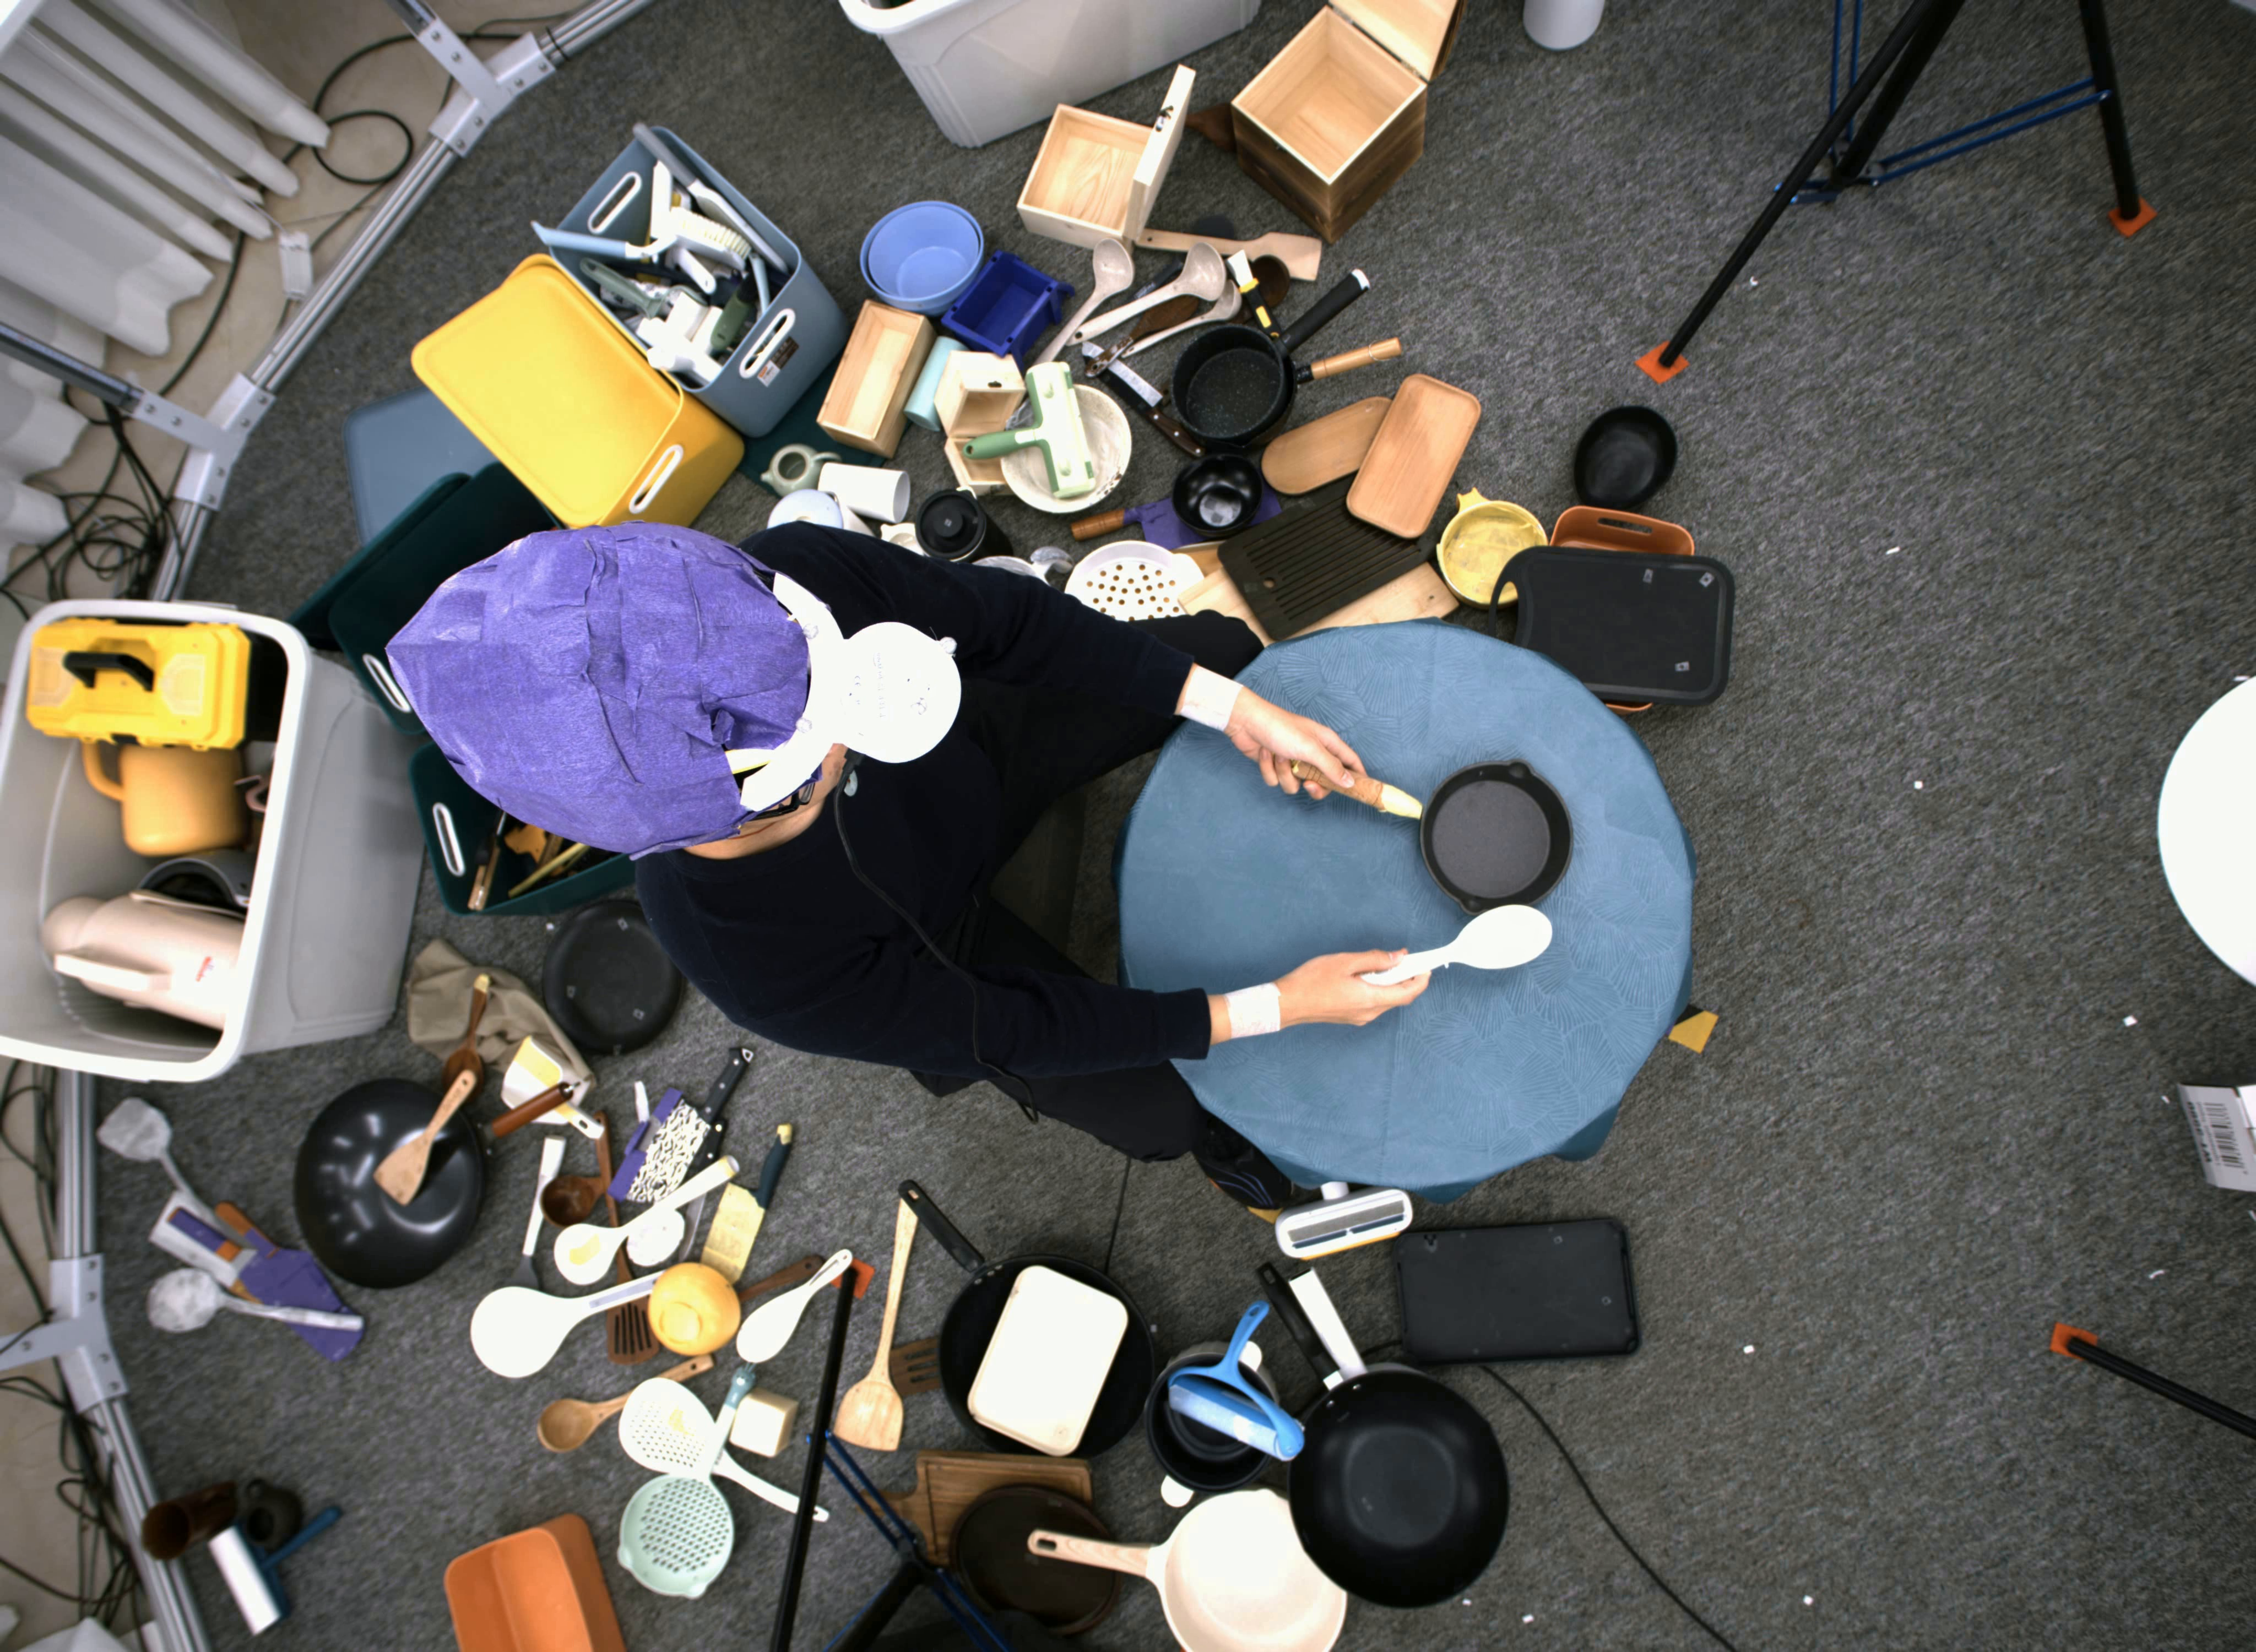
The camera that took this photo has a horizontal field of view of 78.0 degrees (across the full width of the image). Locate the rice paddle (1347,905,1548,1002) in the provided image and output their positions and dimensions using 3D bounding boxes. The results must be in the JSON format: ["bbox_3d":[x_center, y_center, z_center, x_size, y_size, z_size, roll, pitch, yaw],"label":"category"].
[{"bbox_3d":[0.321,0.127,1.382,0.206,0.030,0.067,-19,55,8],"label":"rice paddle"}]

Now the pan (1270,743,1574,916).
[{"bbox_3d":[0.299,-0.021,1.417,0.324,0.049,0.168,22,89,2],"label":"pan"}]
